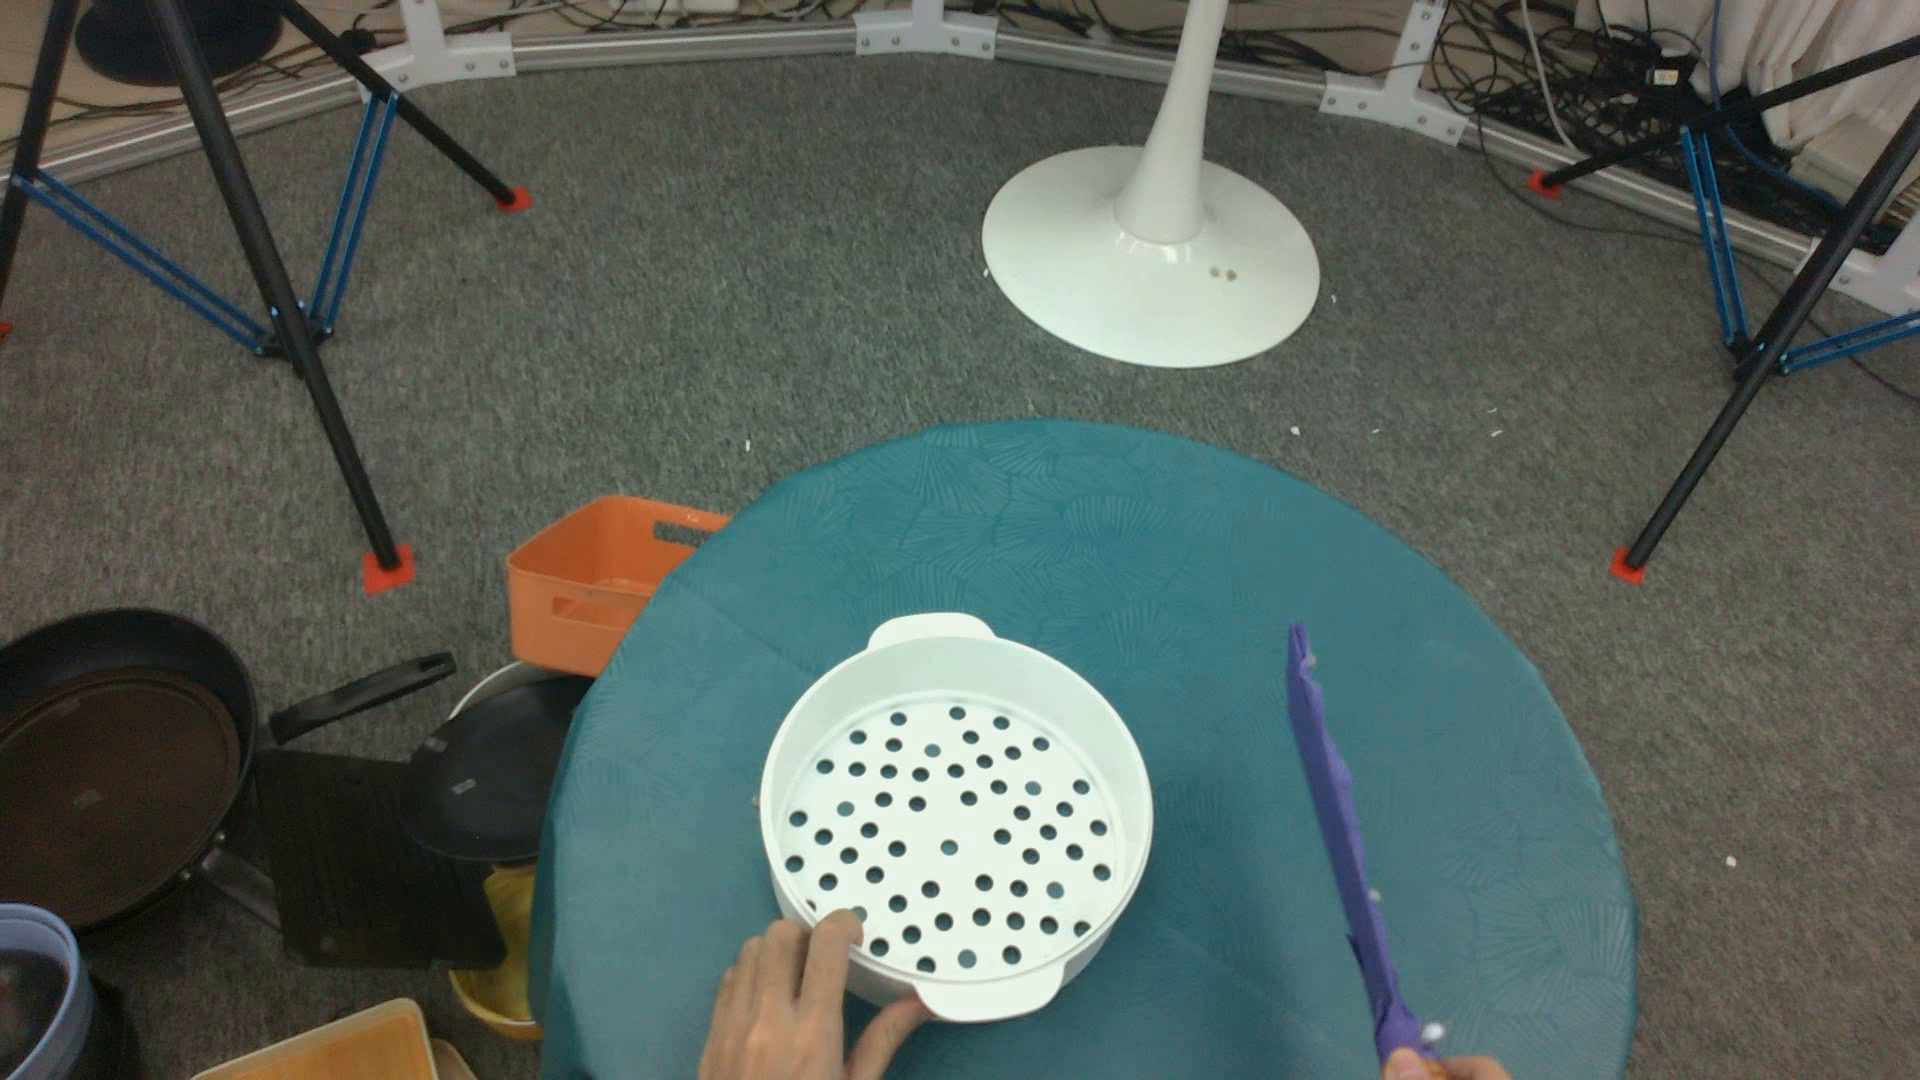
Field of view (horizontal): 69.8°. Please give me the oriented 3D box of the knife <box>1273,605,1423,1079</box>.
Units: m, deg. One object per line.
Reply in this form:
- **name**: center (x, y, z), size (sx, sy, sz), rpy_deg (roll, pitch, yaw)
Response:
- **knife**: center (0.185, 0.181, 0.642), size (0.032, 0.103, 0.316), rpy_deg (-12, 49, 12)

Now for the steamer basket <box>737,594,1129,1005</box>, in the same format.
- **steamer basket**: center (-0.015, 0.139, 0.730), size (0.202, 0.069, 0.231), rpy_deg (-5, 53, -10)
